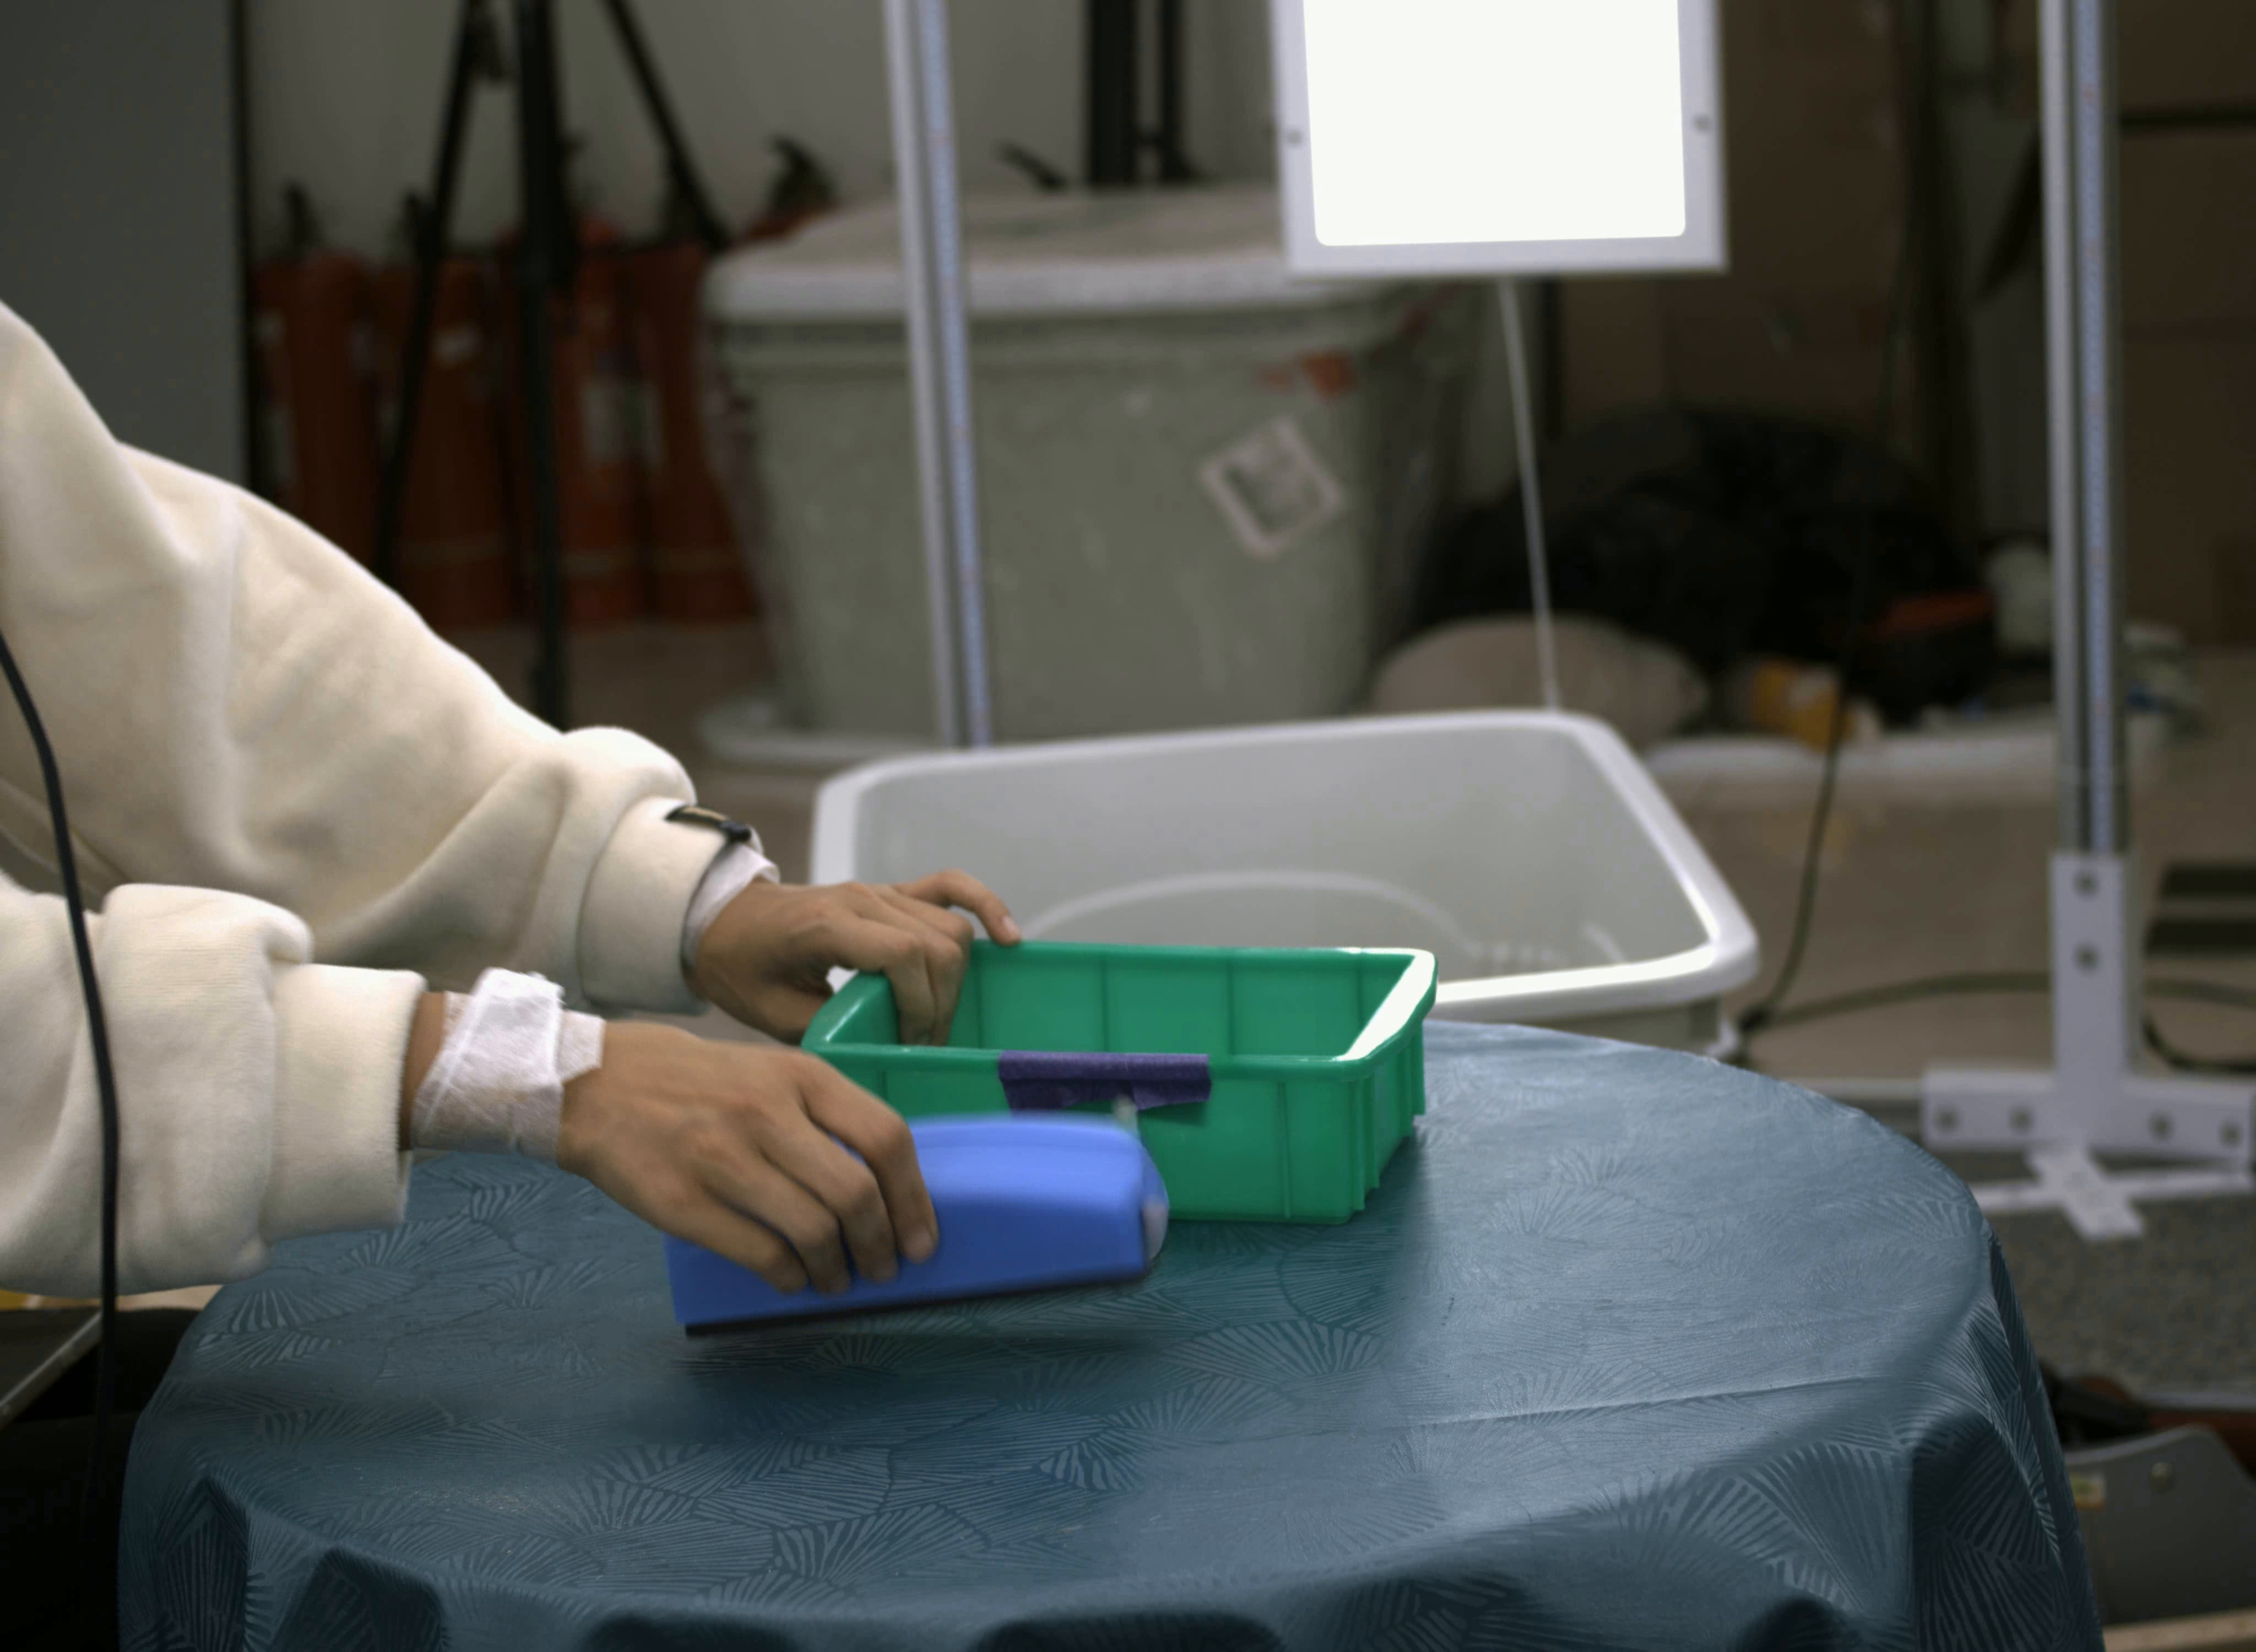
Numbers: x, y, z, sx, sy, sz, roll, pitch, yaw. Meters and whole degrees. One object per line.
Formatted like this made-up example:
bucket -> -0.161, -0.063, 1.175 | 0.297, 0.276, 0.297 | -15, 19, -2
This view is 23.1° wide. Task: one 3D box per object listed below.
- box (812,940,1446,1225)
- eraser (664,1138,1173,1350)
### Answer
box -> 0.004, 0.089, 1.915 | 0.212, 0.065, 0.137 | 1, 17, 16
eraser -> -0.068, 0.130, 1.744 | 0.164, 0.047, 0.053 | -6, 25, 15
